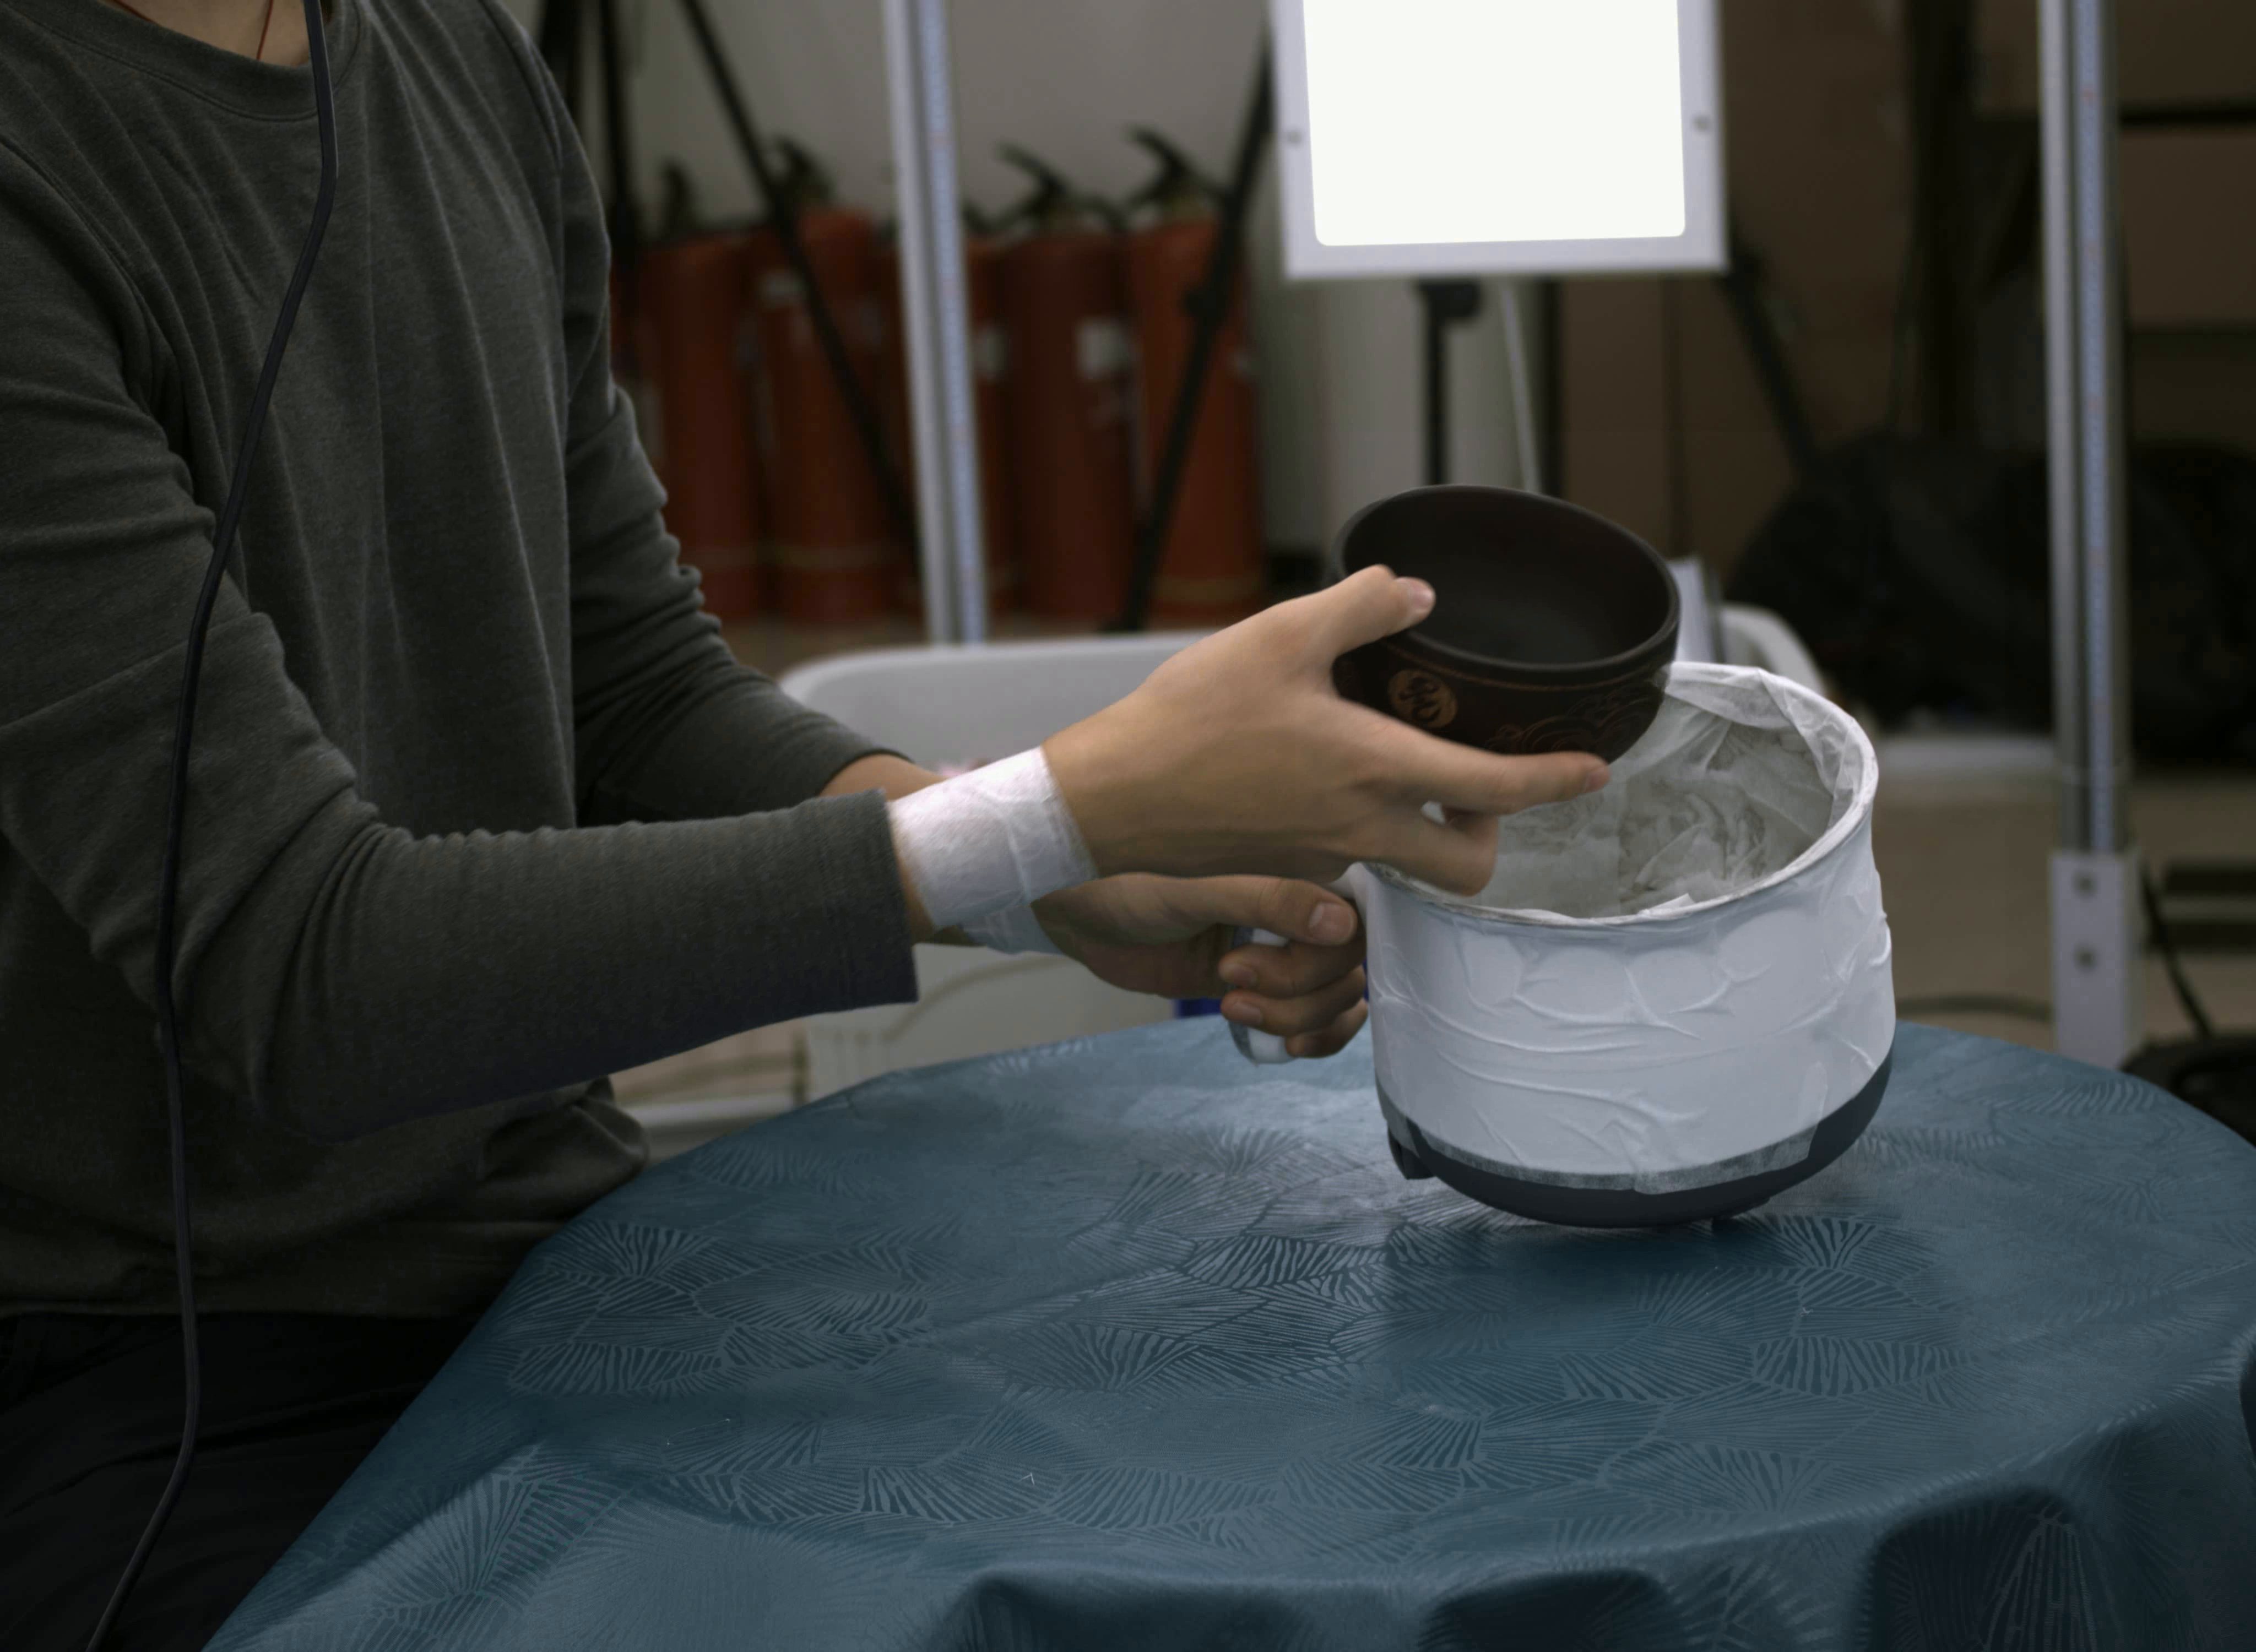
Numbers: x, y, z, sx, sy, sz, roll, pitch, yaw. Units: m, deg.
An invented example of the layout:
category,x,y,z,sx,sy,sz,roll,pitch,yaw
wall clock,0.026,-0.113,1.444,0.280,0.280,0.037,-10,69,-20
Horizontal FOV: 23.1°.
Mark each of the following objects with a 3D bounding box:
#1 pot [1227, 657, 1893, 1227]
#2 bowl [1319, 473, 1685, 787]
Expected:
category,x,y,z,sx,sy,sz,roll,pitch,yaw
pot,0.142,0.039,1.853,0.237,0.137,0.175,4,31,22
bowl,0.120,-0.057,1.786,0.117,0.070,0.117,3,34,-3
